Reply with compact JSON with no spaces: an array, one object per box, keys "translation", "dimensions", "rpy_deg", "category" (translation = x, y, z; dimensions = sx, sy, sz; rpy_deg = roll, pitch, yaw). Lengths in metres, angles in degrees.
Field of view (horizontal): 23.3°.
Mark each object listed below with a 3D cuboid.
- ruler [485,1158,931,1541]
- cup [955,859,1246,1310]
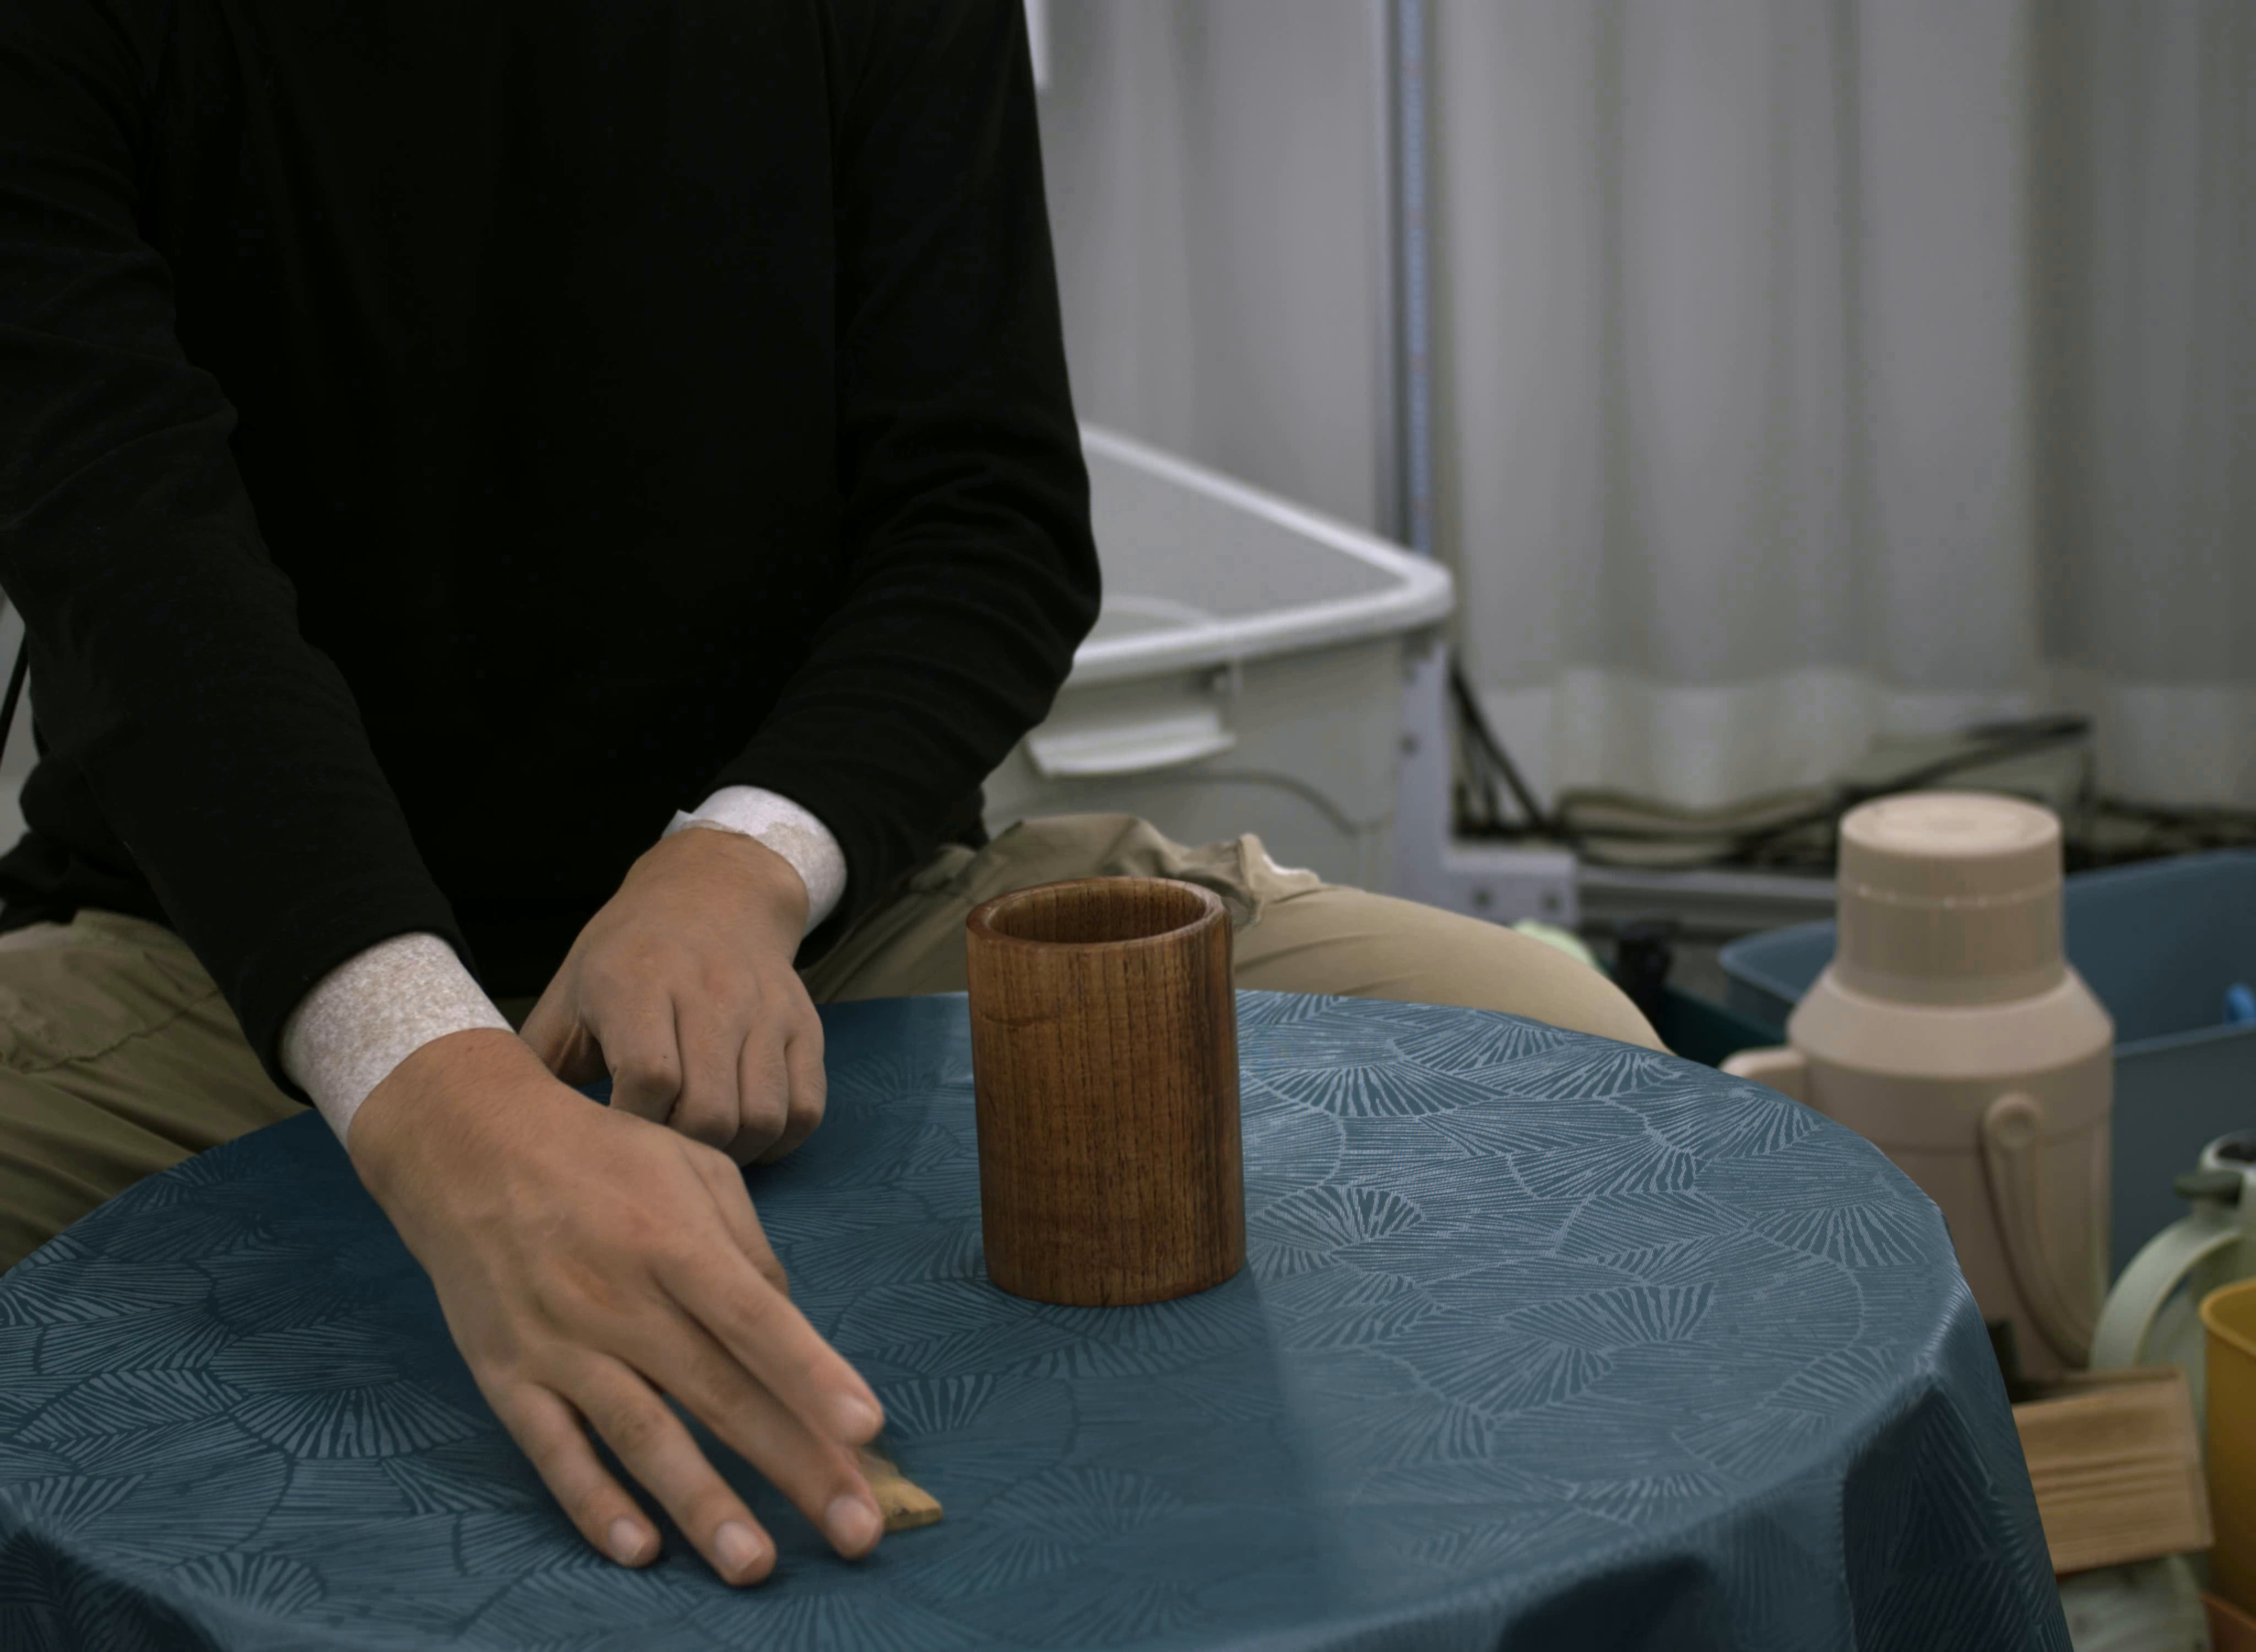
[{"translation":[-0.129,0.146,1.601],"dimensions":[0.027,0.022,0.334],"rpy_deg":[-3,14,-23],"category":"ruler"},{"translation":[-0.007,0.076,1.634],"dimensions":[0.087,0.118,0.088],"rpy_deg":[-2,13,0],"category":"cup"}]
